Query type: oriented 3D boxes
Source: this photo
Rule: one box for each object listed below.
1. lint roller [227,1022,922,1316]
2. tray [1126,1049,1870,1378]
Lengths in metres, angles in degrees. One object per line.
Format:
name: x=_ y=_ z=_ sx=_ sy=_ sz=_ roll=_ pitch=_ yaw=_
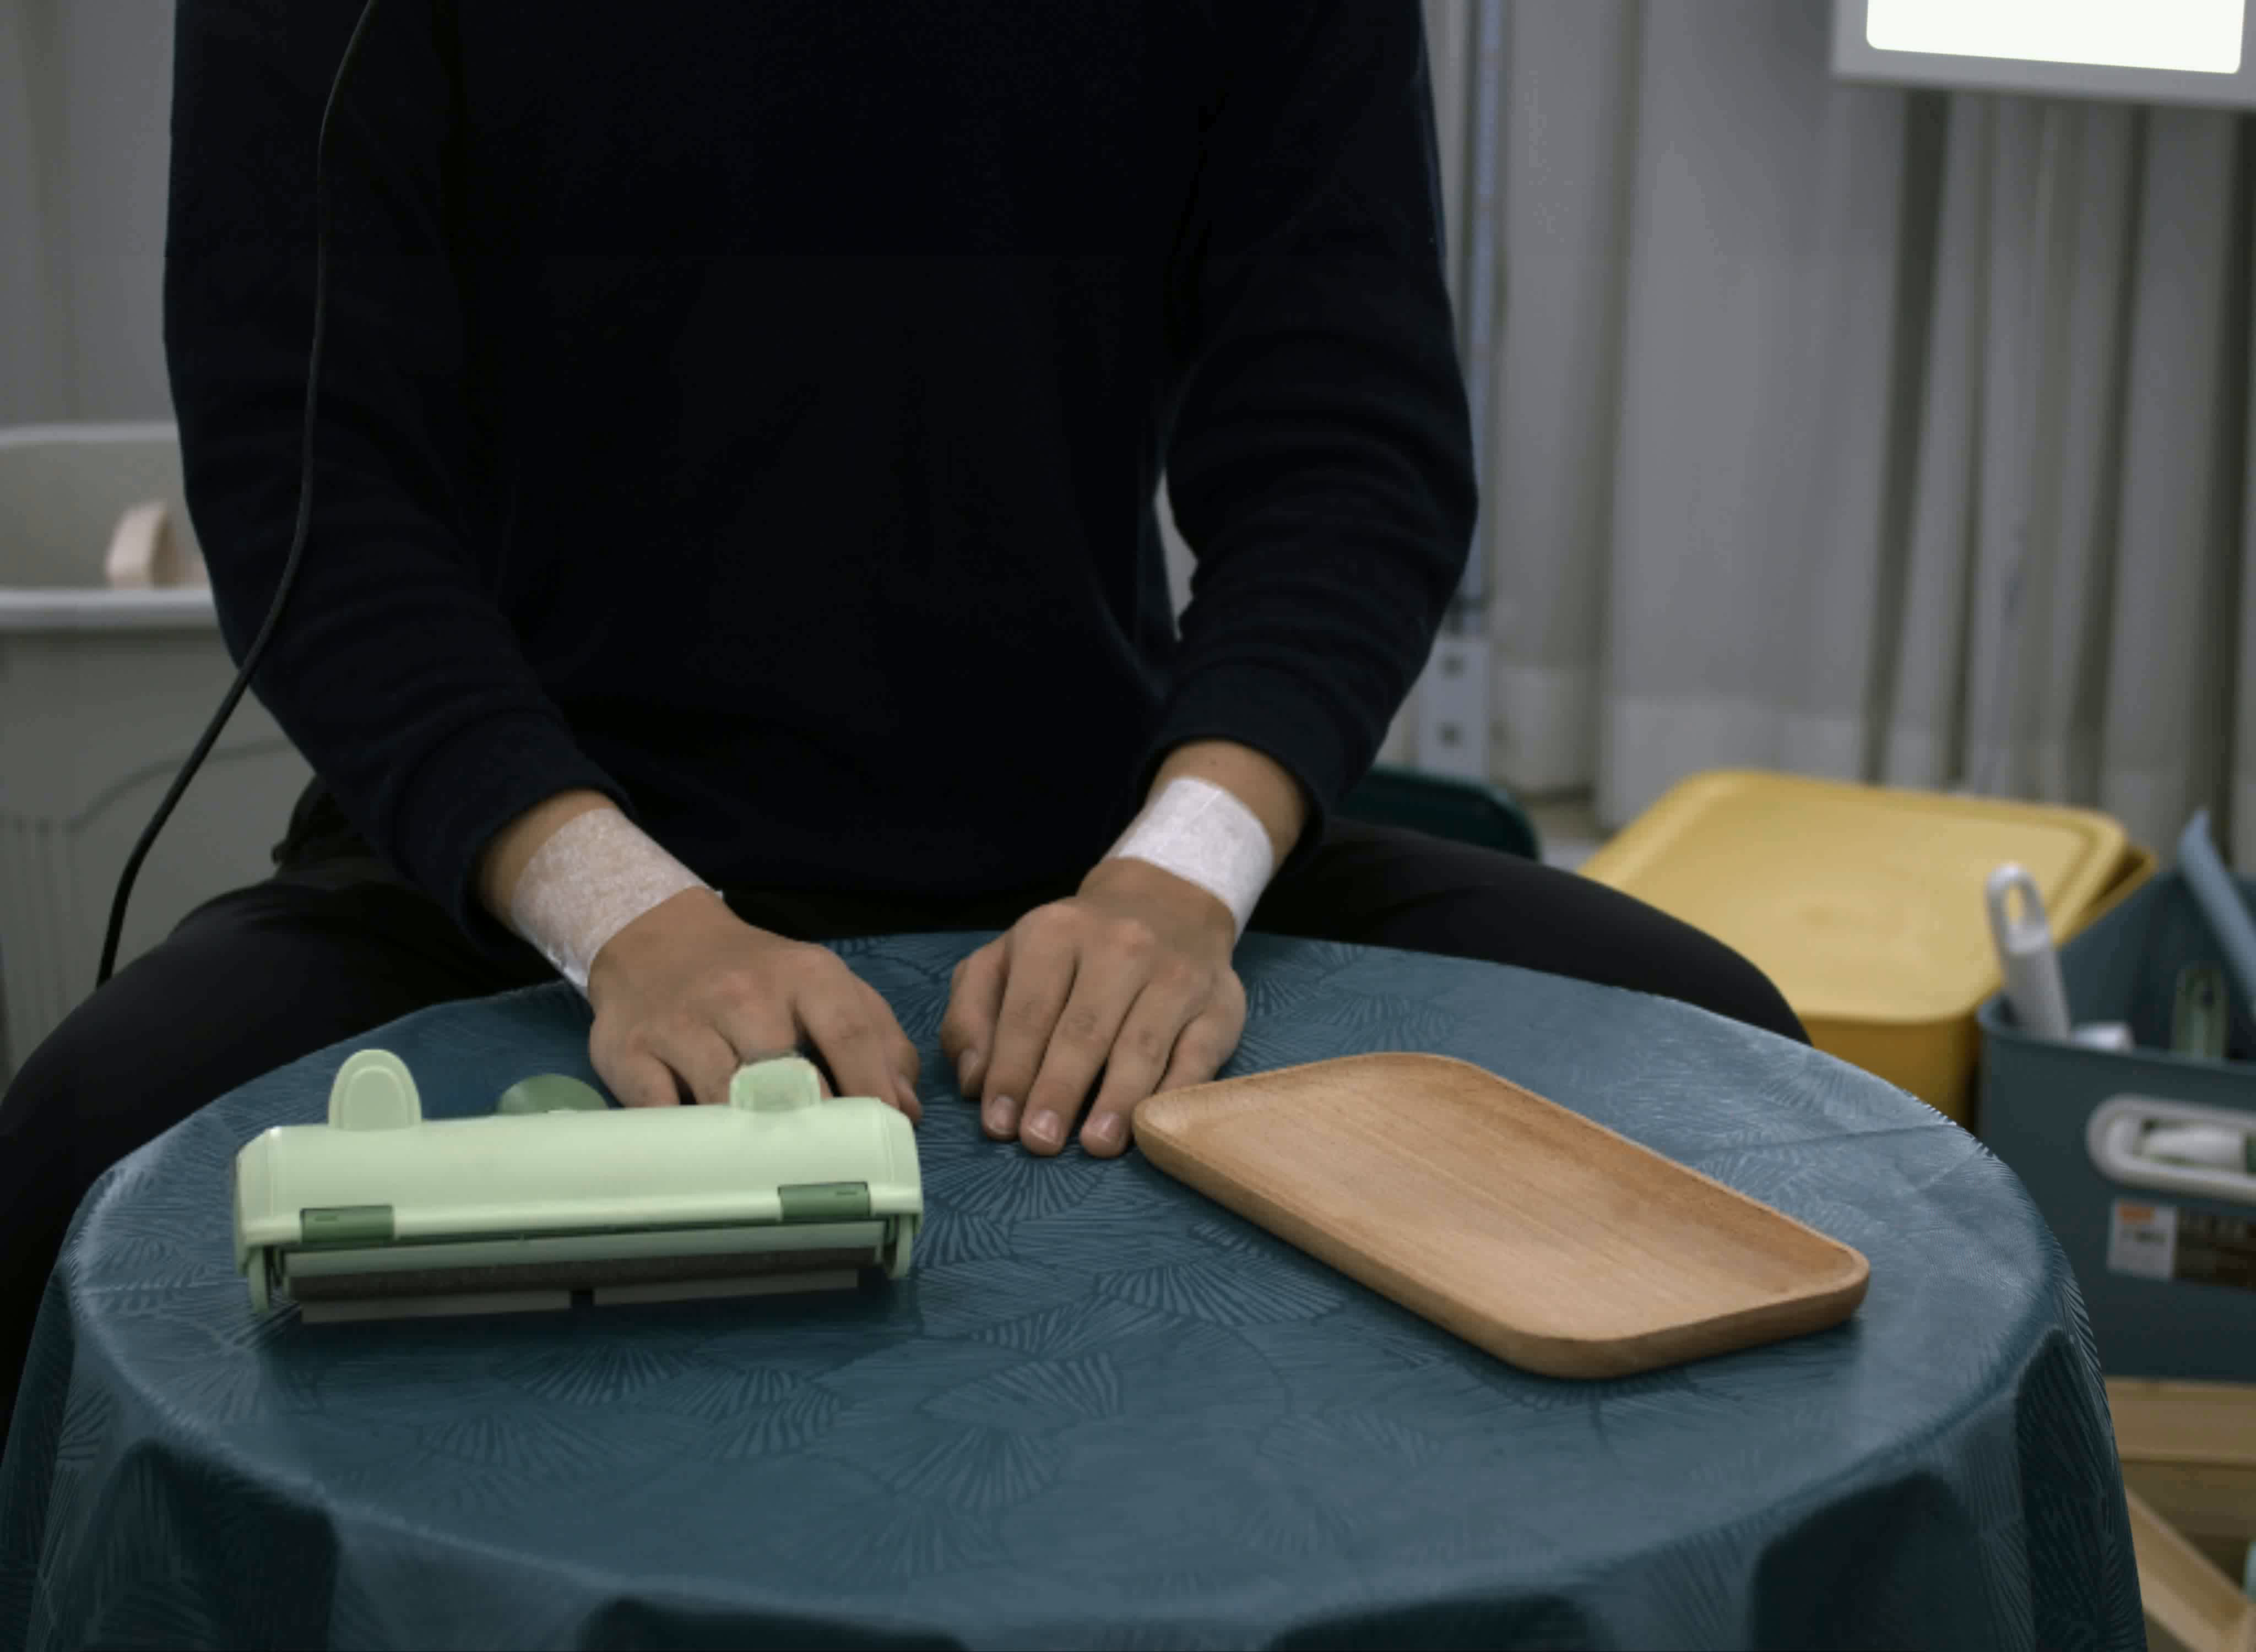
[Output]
lint roller: x=-0.169 y=0.081 z=1.565 sx=0.198 sy=0.083 sz=0.181 roll=-2 pitch=22 yaw=-11
tray: x=0.107 y=0.114 z=1.589 sx=0.131 sy=0.023 sz=0.247 roll=-6 pitch=16 yaw=-30
